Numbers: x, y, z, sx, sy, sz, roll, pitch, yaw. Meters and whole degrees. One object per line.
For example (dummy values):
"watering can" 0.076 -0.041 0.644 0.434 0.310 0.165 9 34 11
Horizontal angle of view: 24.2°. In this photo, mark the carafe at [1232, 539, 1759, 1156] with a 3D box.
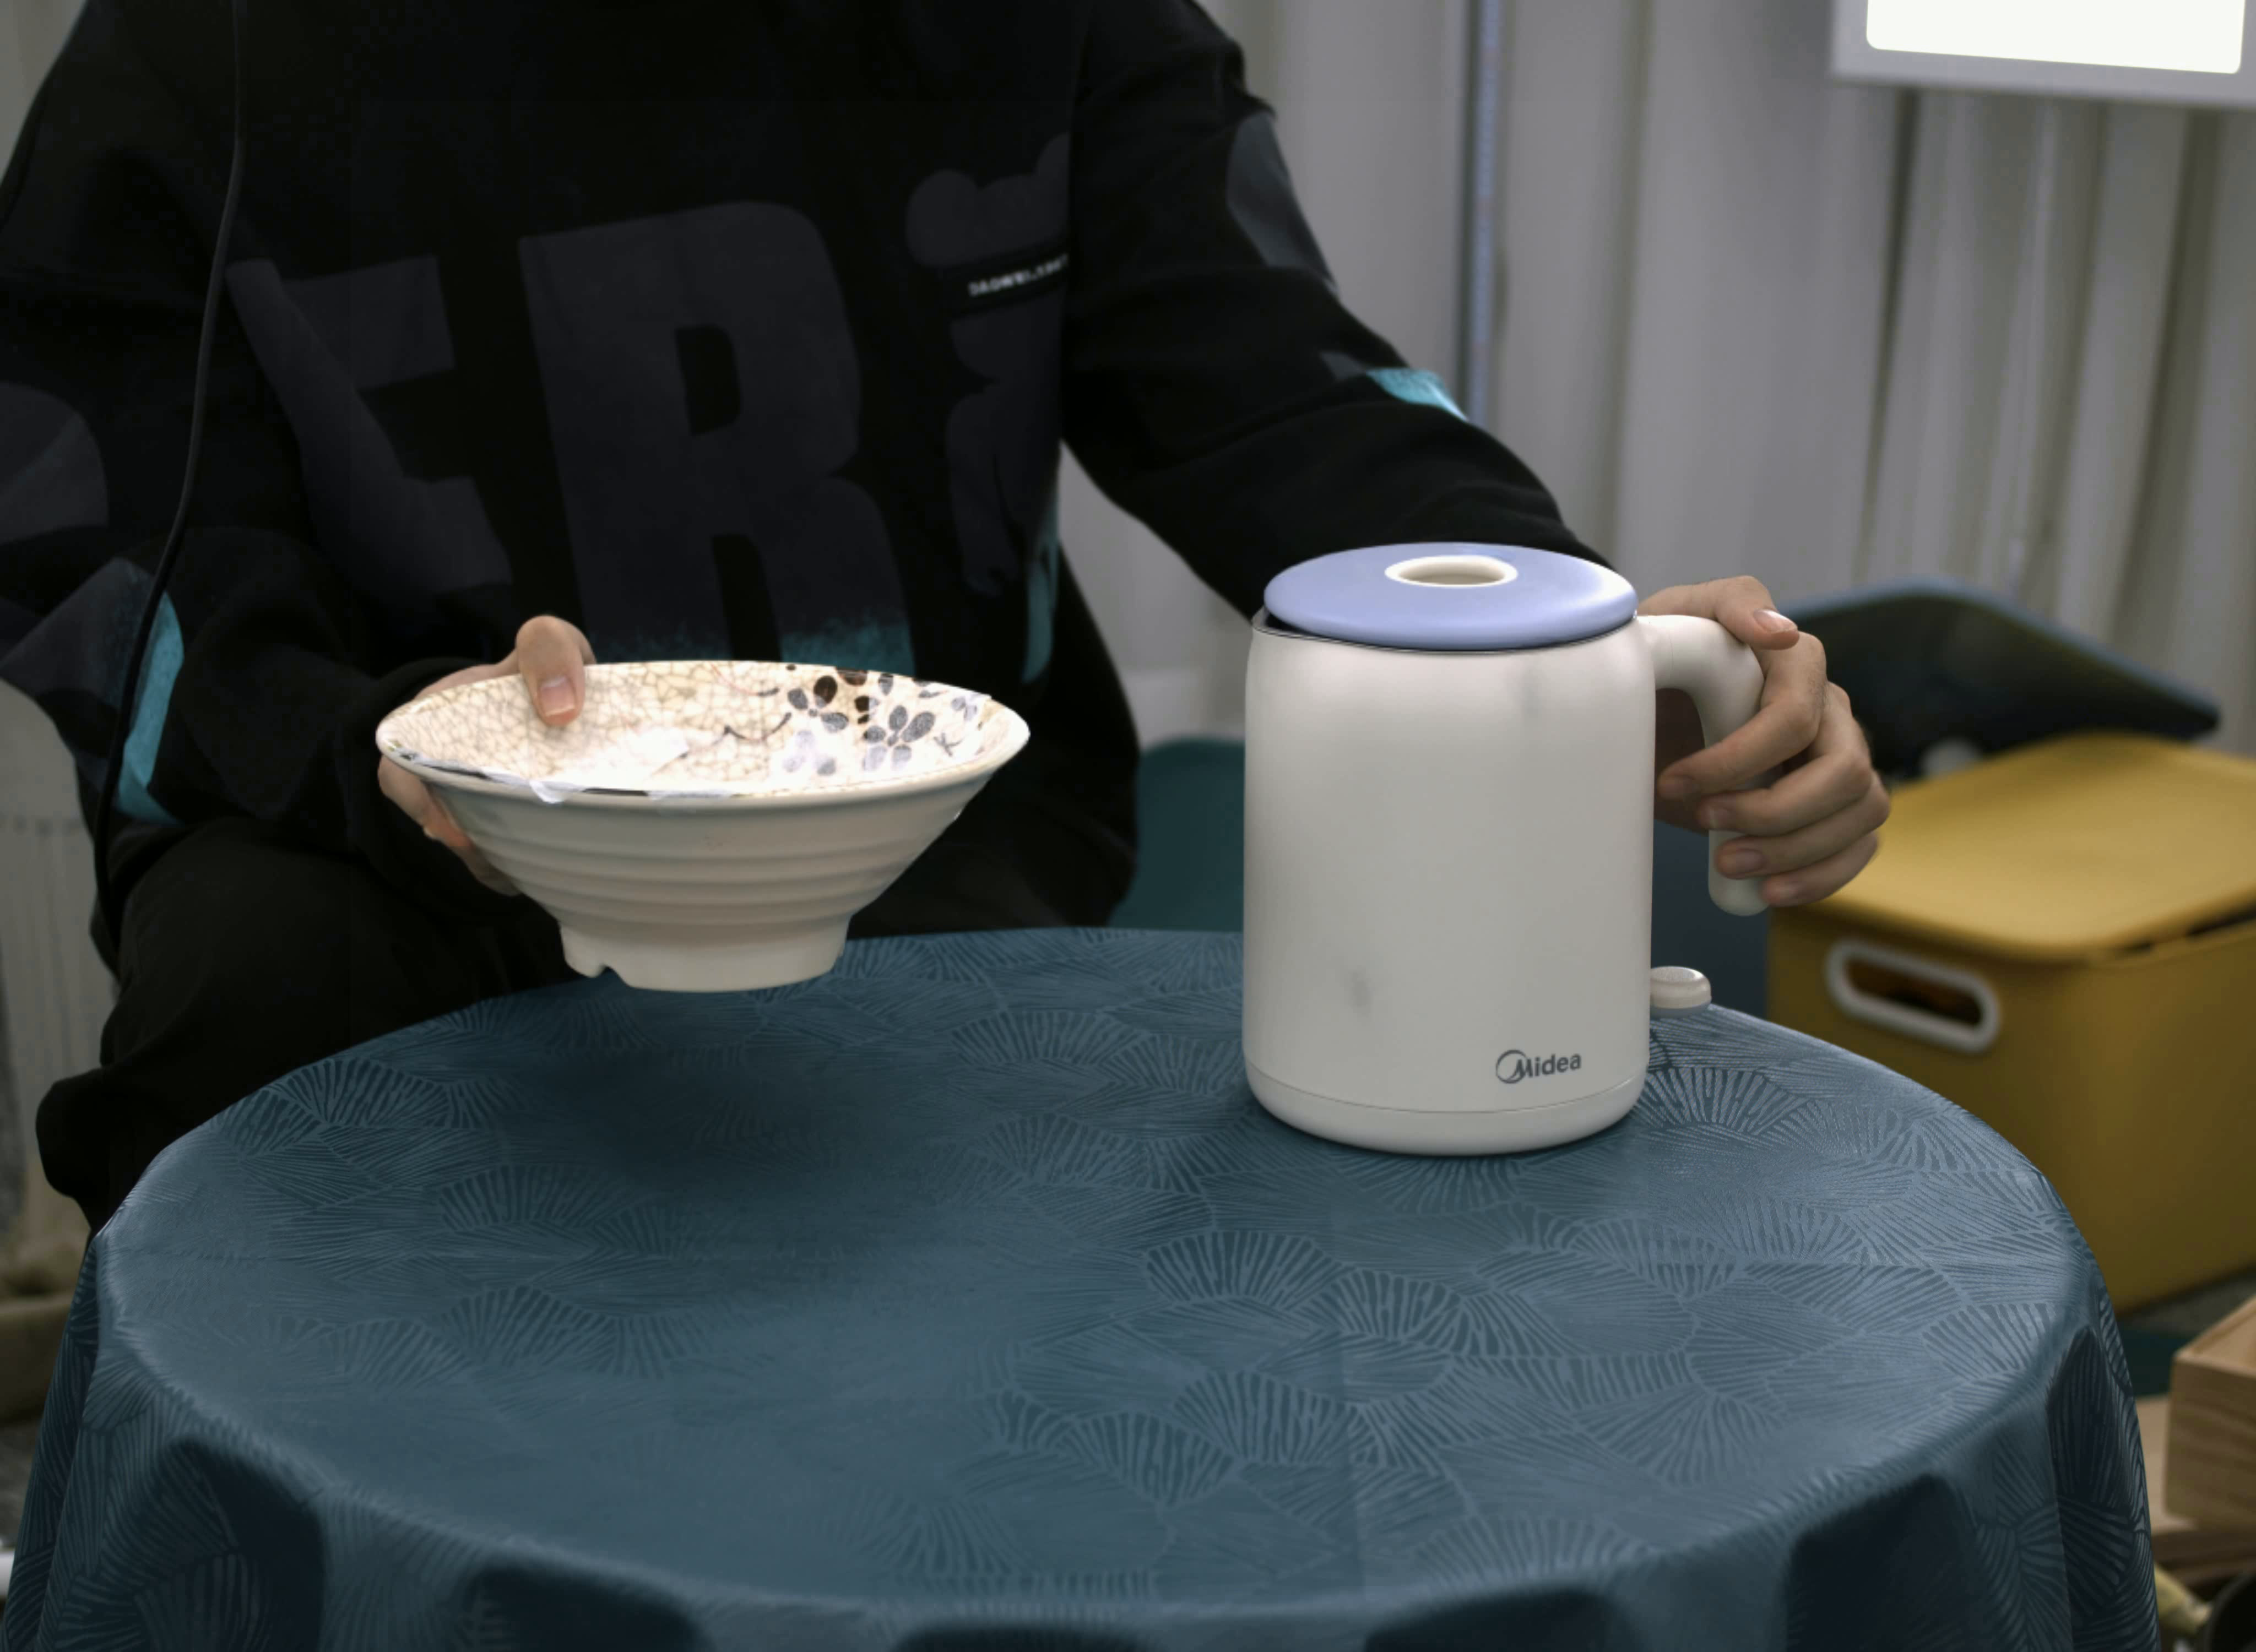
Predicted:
"carafe" 0.123 0.004 1.695 0.192 0.184 0.130 -5 18 -26

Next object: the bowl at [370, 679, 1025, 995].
"bowl" -0.134 0.006 1.644 0.203 0.078 0.203 1 10 0
